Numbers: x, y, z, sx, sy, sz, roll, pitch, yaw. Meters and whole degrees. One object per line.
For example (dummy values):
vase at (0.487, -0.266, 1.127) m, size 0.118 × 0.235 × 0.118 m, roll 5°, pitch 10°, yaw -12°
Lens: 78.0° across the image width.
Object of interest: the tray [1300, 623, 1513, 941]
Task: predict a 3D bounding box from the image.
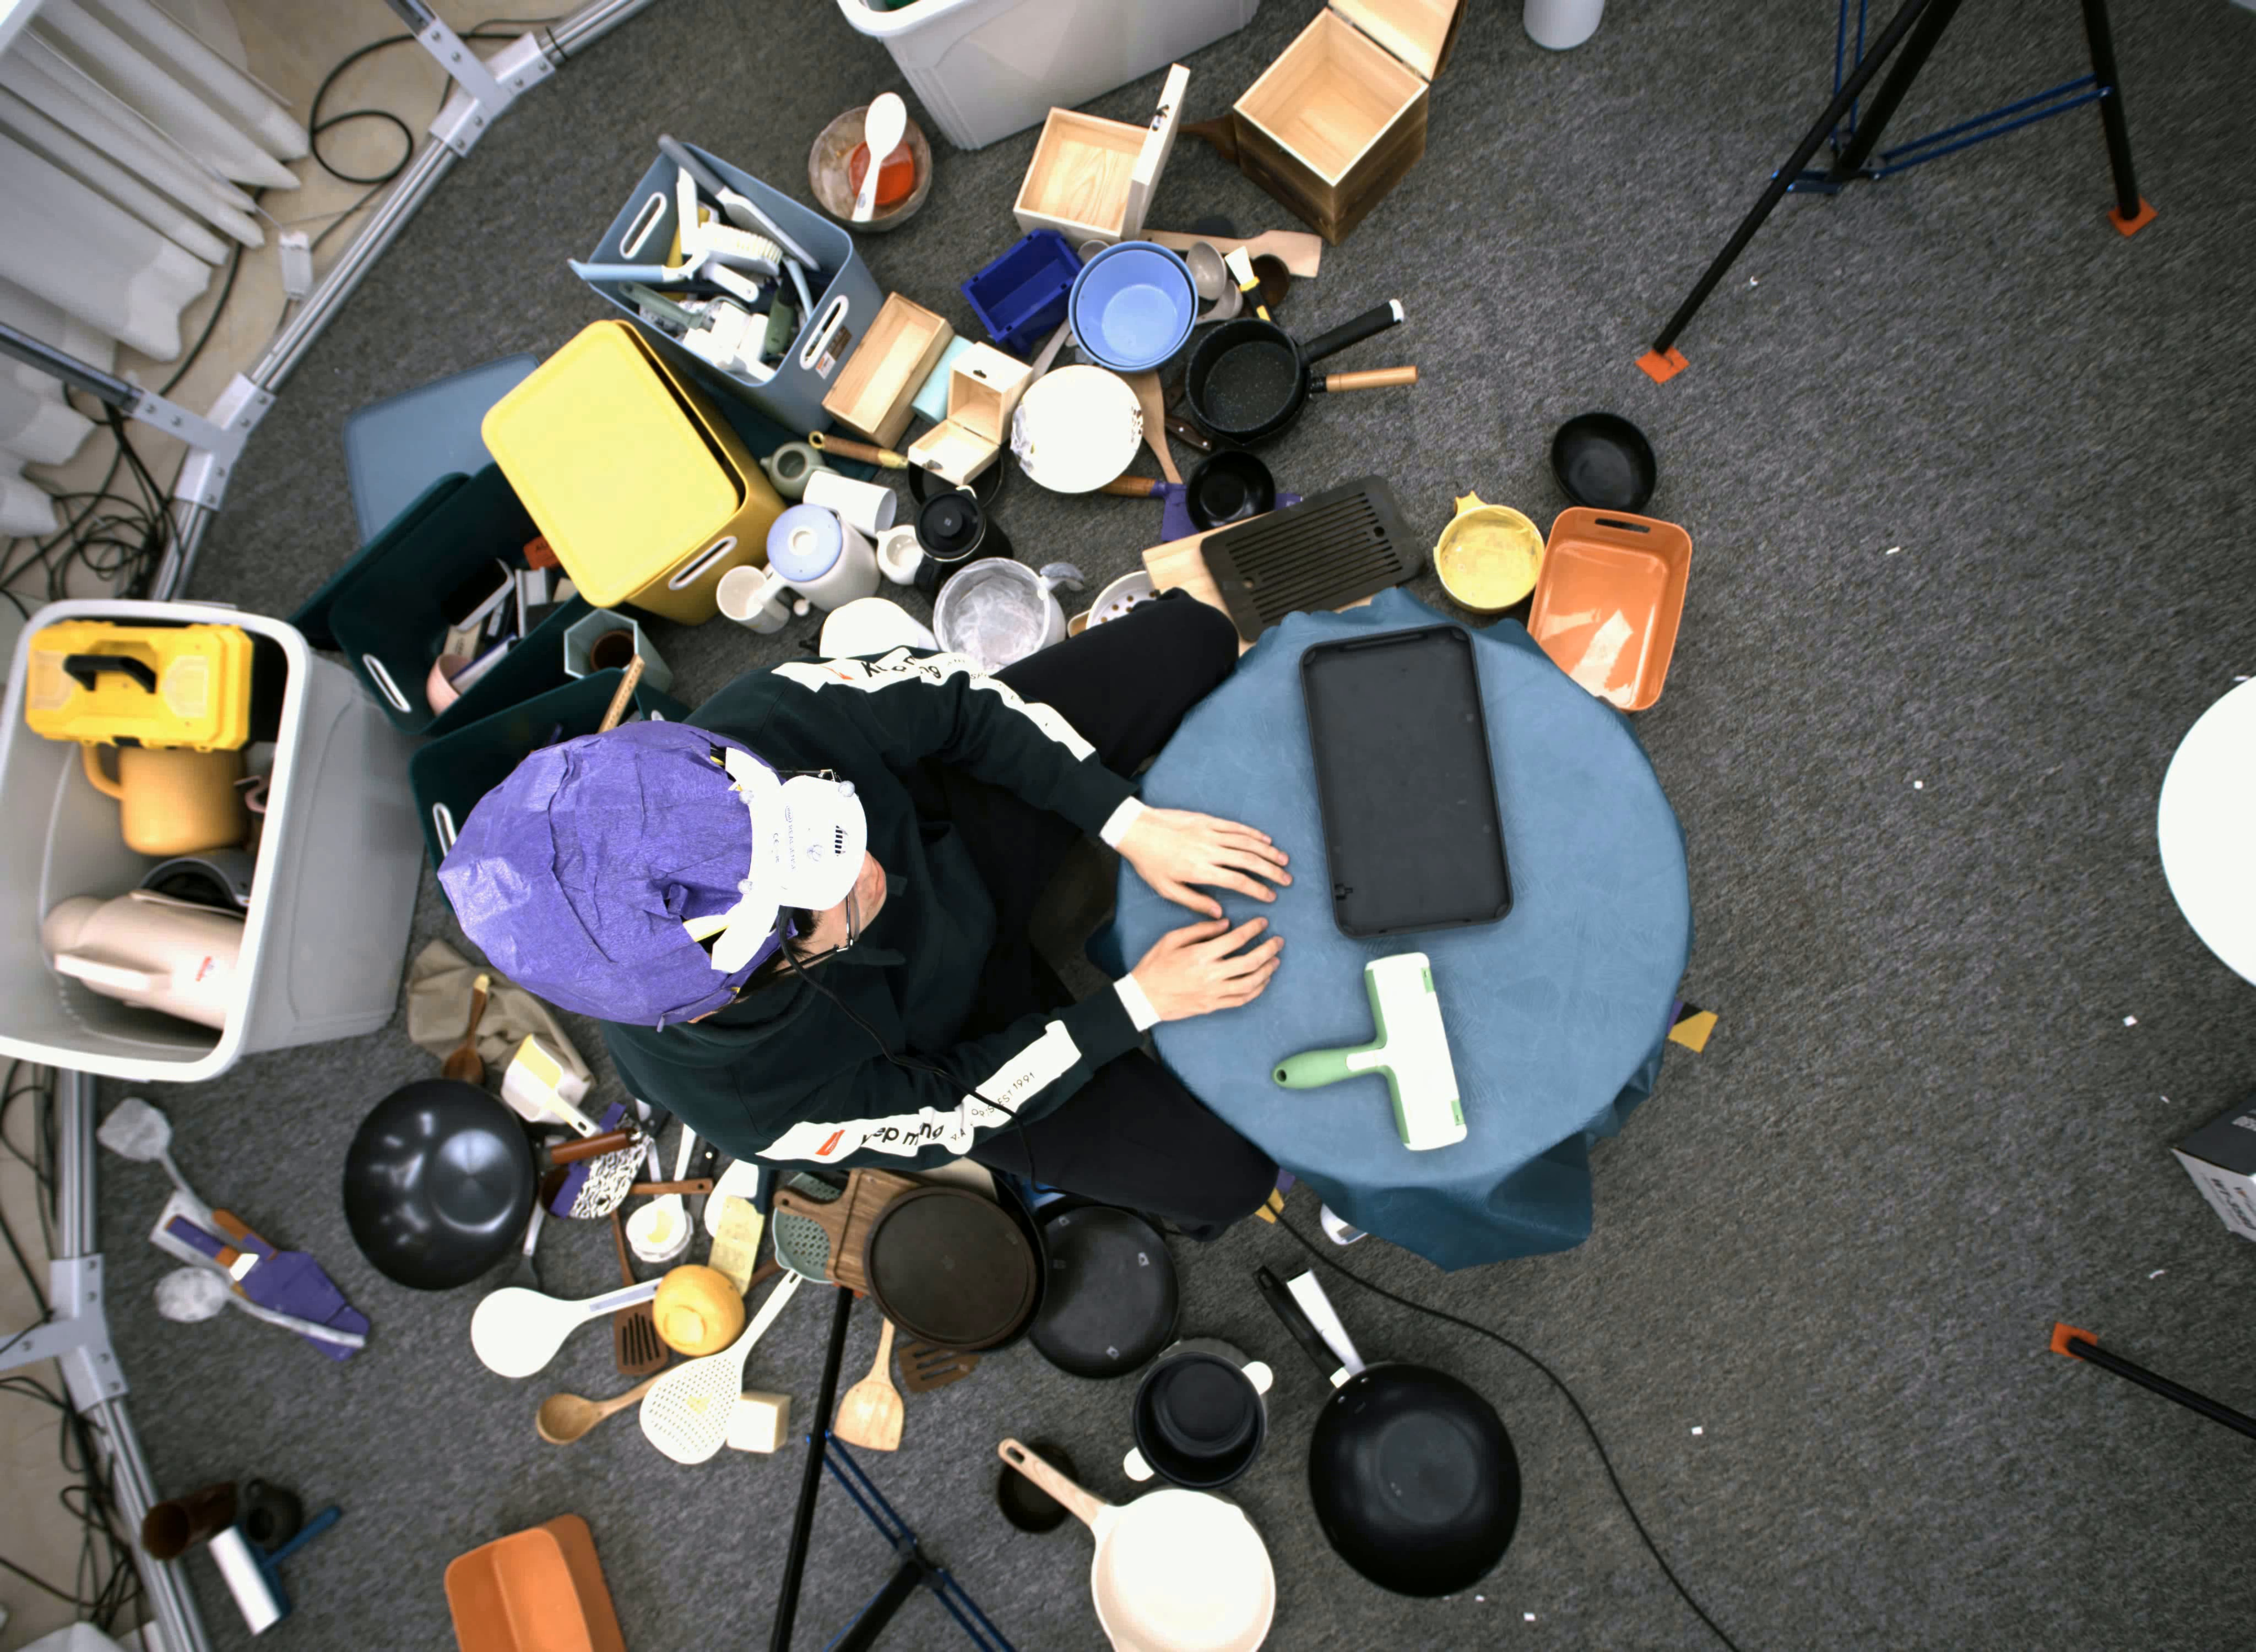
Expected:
tray at (0.289, -0.047, 1.440) m, size 0.185 × 0.037 × 0.316 m, roll -7°, pitch 86°, yaw 10°

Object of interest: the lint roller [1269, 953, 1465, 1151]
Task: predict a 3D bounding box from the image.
lint roller at (0.234, 0.240, 1.413) m, size 0.184 × 0.082 × 0.197 m, roll -12°, pitch 85°, yaw 6°
